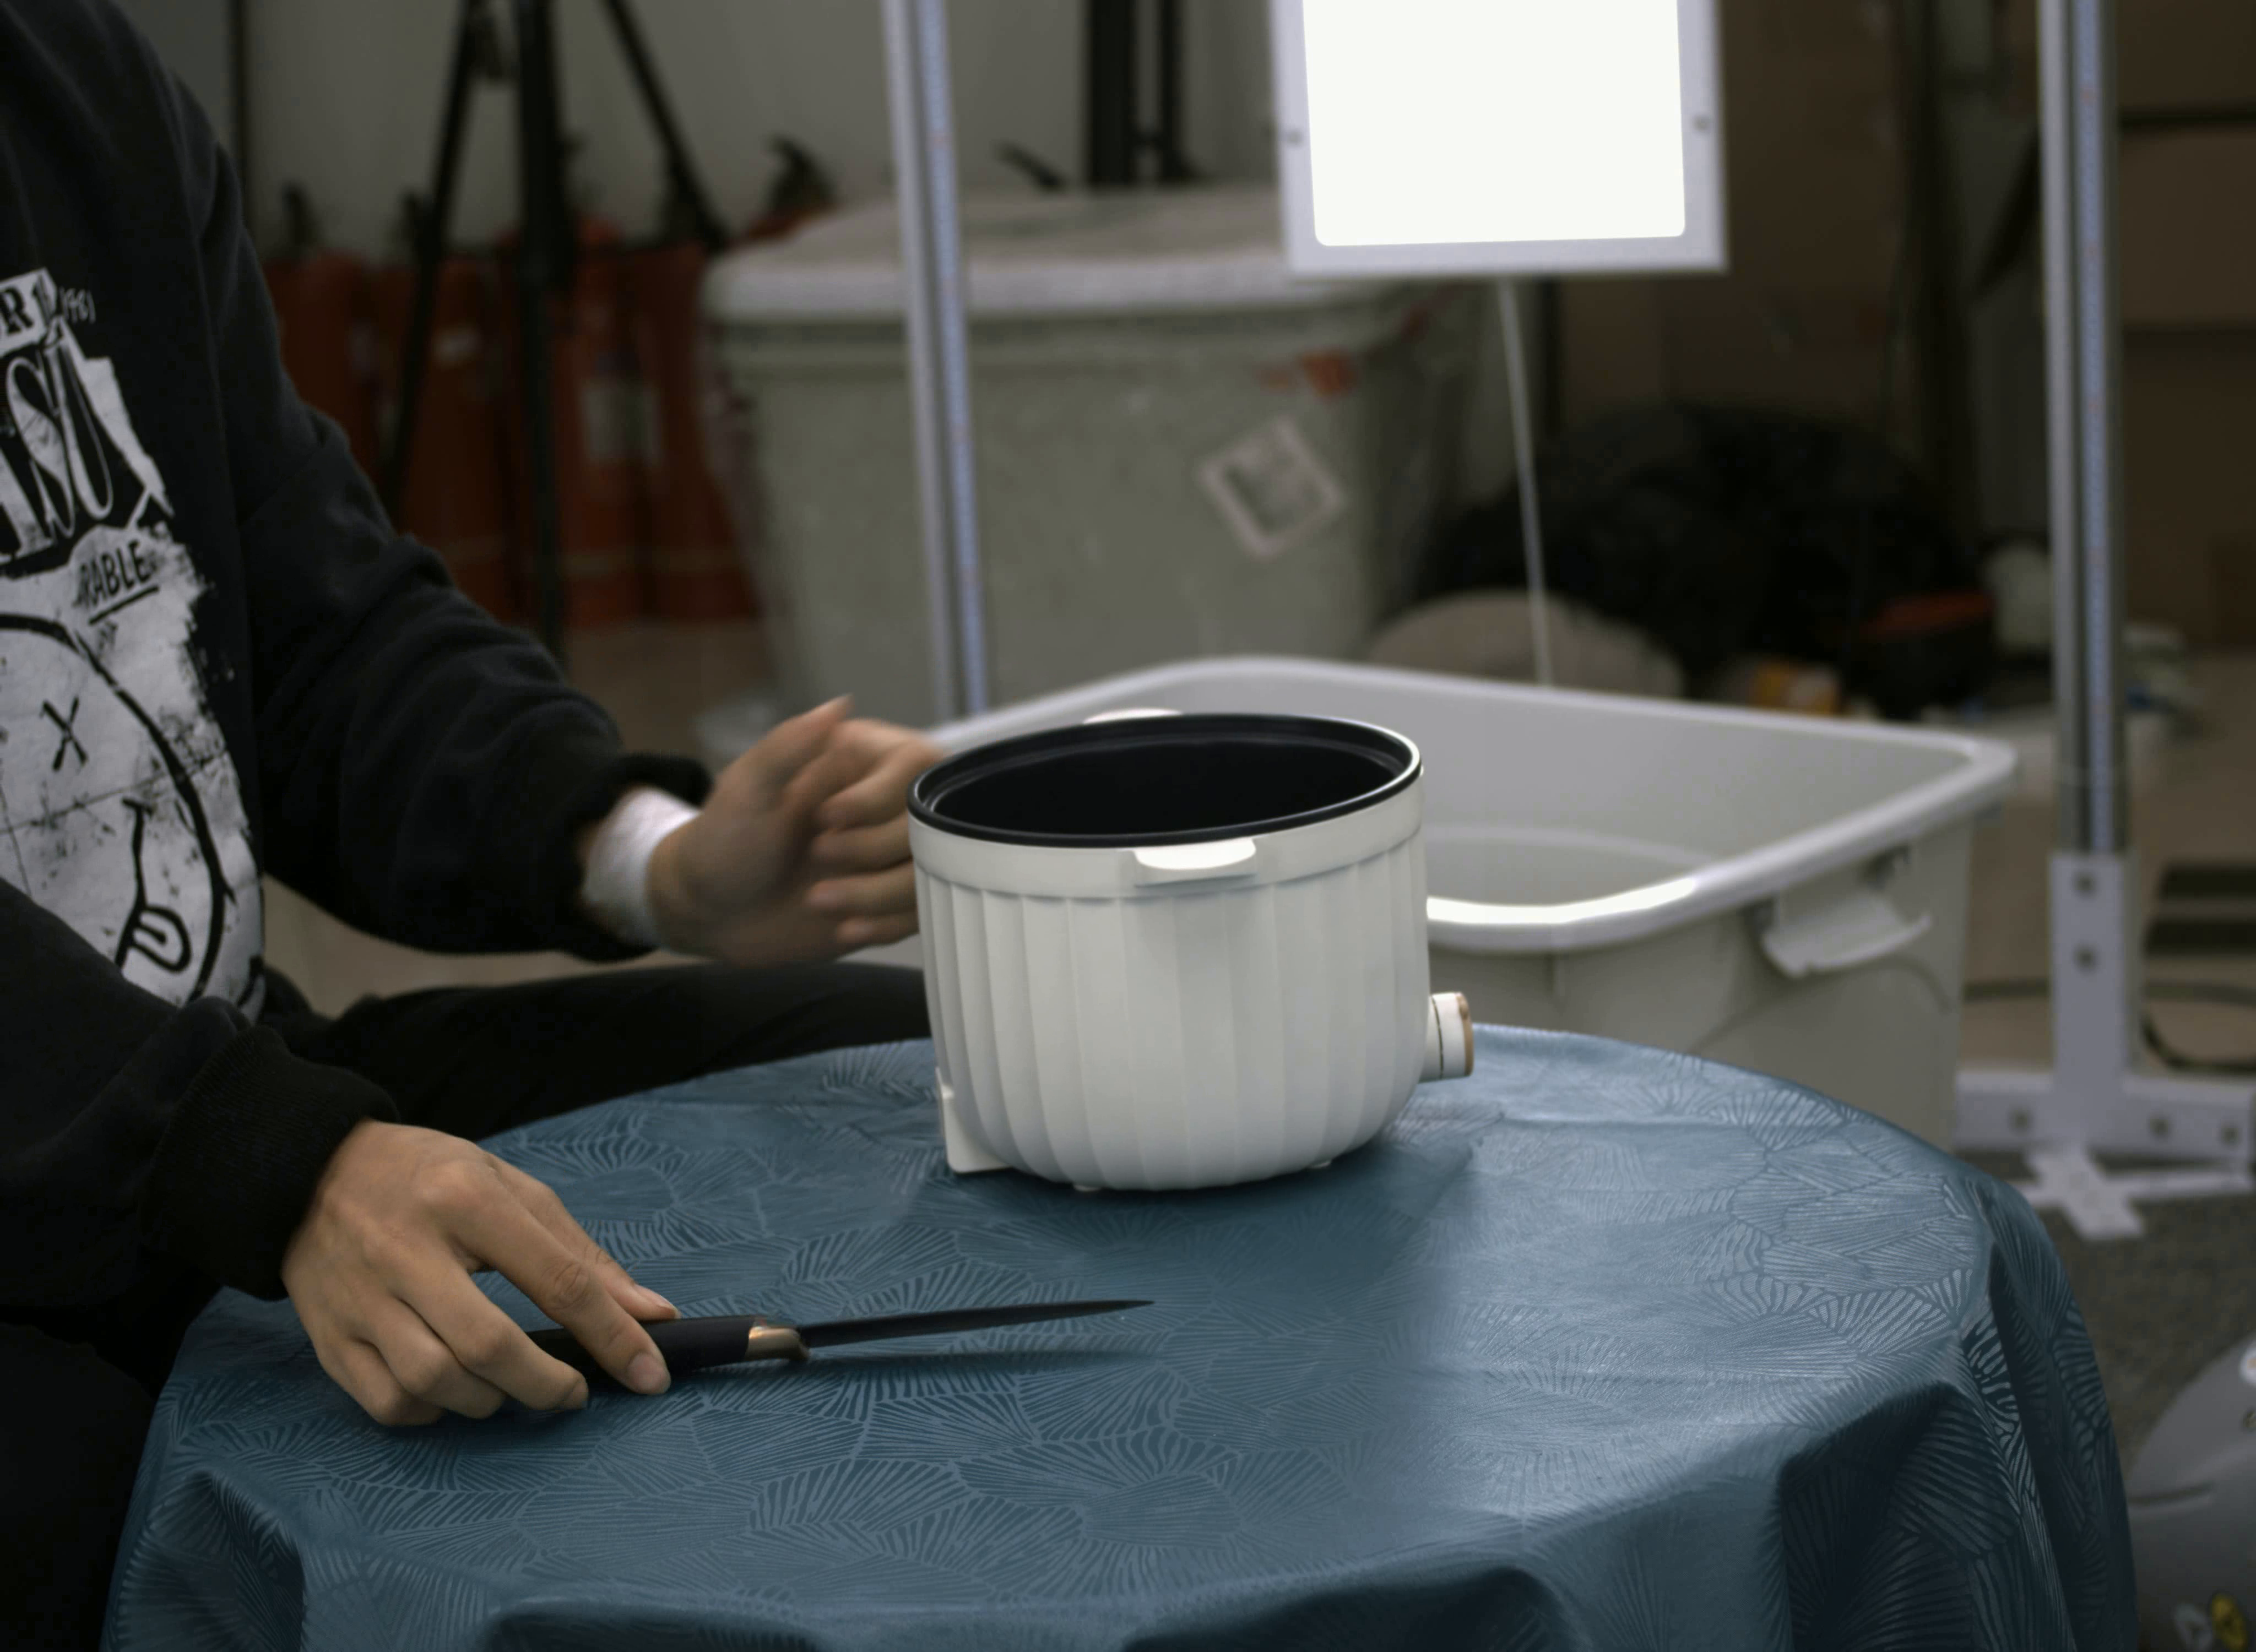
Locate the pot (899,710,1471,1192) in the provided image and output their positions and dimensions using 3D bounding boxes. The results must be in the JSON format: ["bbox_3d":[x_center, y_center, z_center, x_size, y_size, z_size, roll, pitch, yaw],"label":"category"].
[{"bbox_3d":[0.021,0.044,1.934,0.189,0.143,0.241,-9,15,-4],"label":"pot"}]

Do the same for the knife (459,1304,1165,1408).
[{"bbox_3d":[-0.100,0.164,1.750,0.225,0.026,0.017,-7,56,5],"label":"knife"}]
